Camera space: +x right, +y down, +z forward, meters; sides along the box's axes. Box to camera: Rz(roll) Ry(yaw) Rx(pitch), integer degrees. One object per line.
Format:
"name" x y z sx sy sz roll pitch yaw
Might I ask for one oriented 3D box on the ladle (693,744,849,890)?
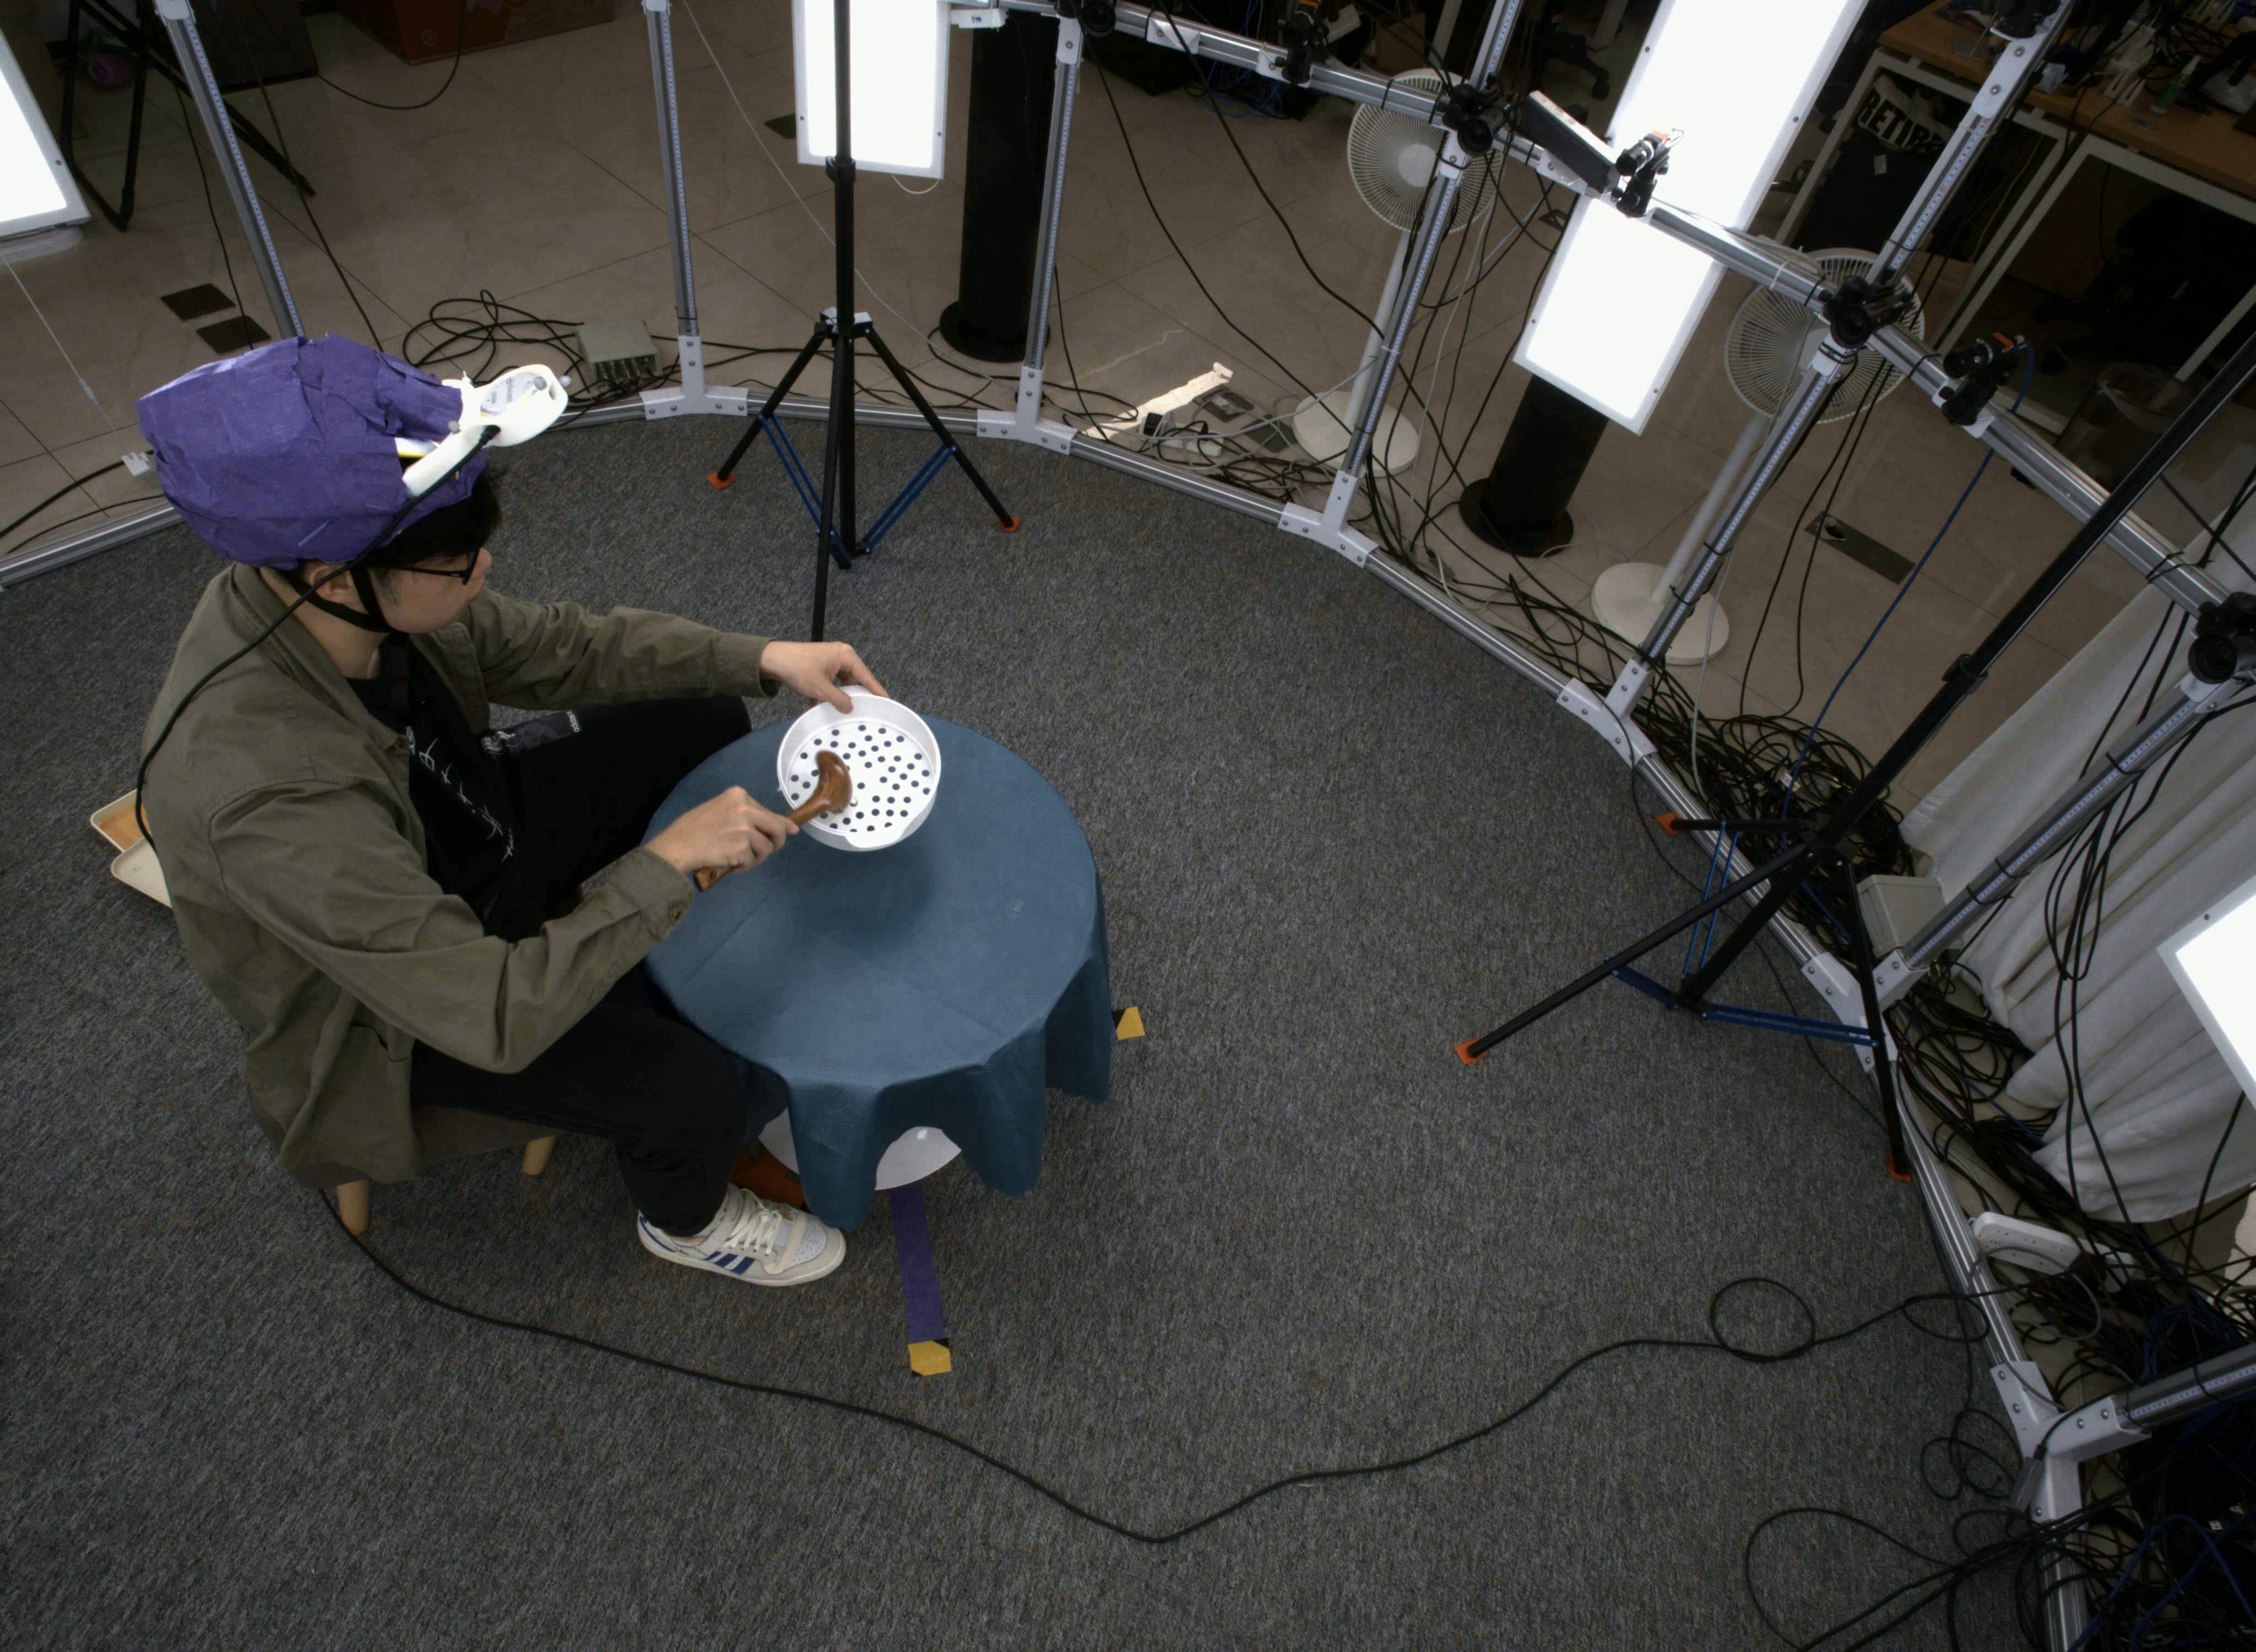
"ladle" -0.426 -0.011 1.521 0.074 0.085 0.274 5 32 36

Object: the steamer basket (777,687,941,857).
"steamer basket" -0.337 -0.062 1.638 0.202 0.070 0.227 -11 68 -16
